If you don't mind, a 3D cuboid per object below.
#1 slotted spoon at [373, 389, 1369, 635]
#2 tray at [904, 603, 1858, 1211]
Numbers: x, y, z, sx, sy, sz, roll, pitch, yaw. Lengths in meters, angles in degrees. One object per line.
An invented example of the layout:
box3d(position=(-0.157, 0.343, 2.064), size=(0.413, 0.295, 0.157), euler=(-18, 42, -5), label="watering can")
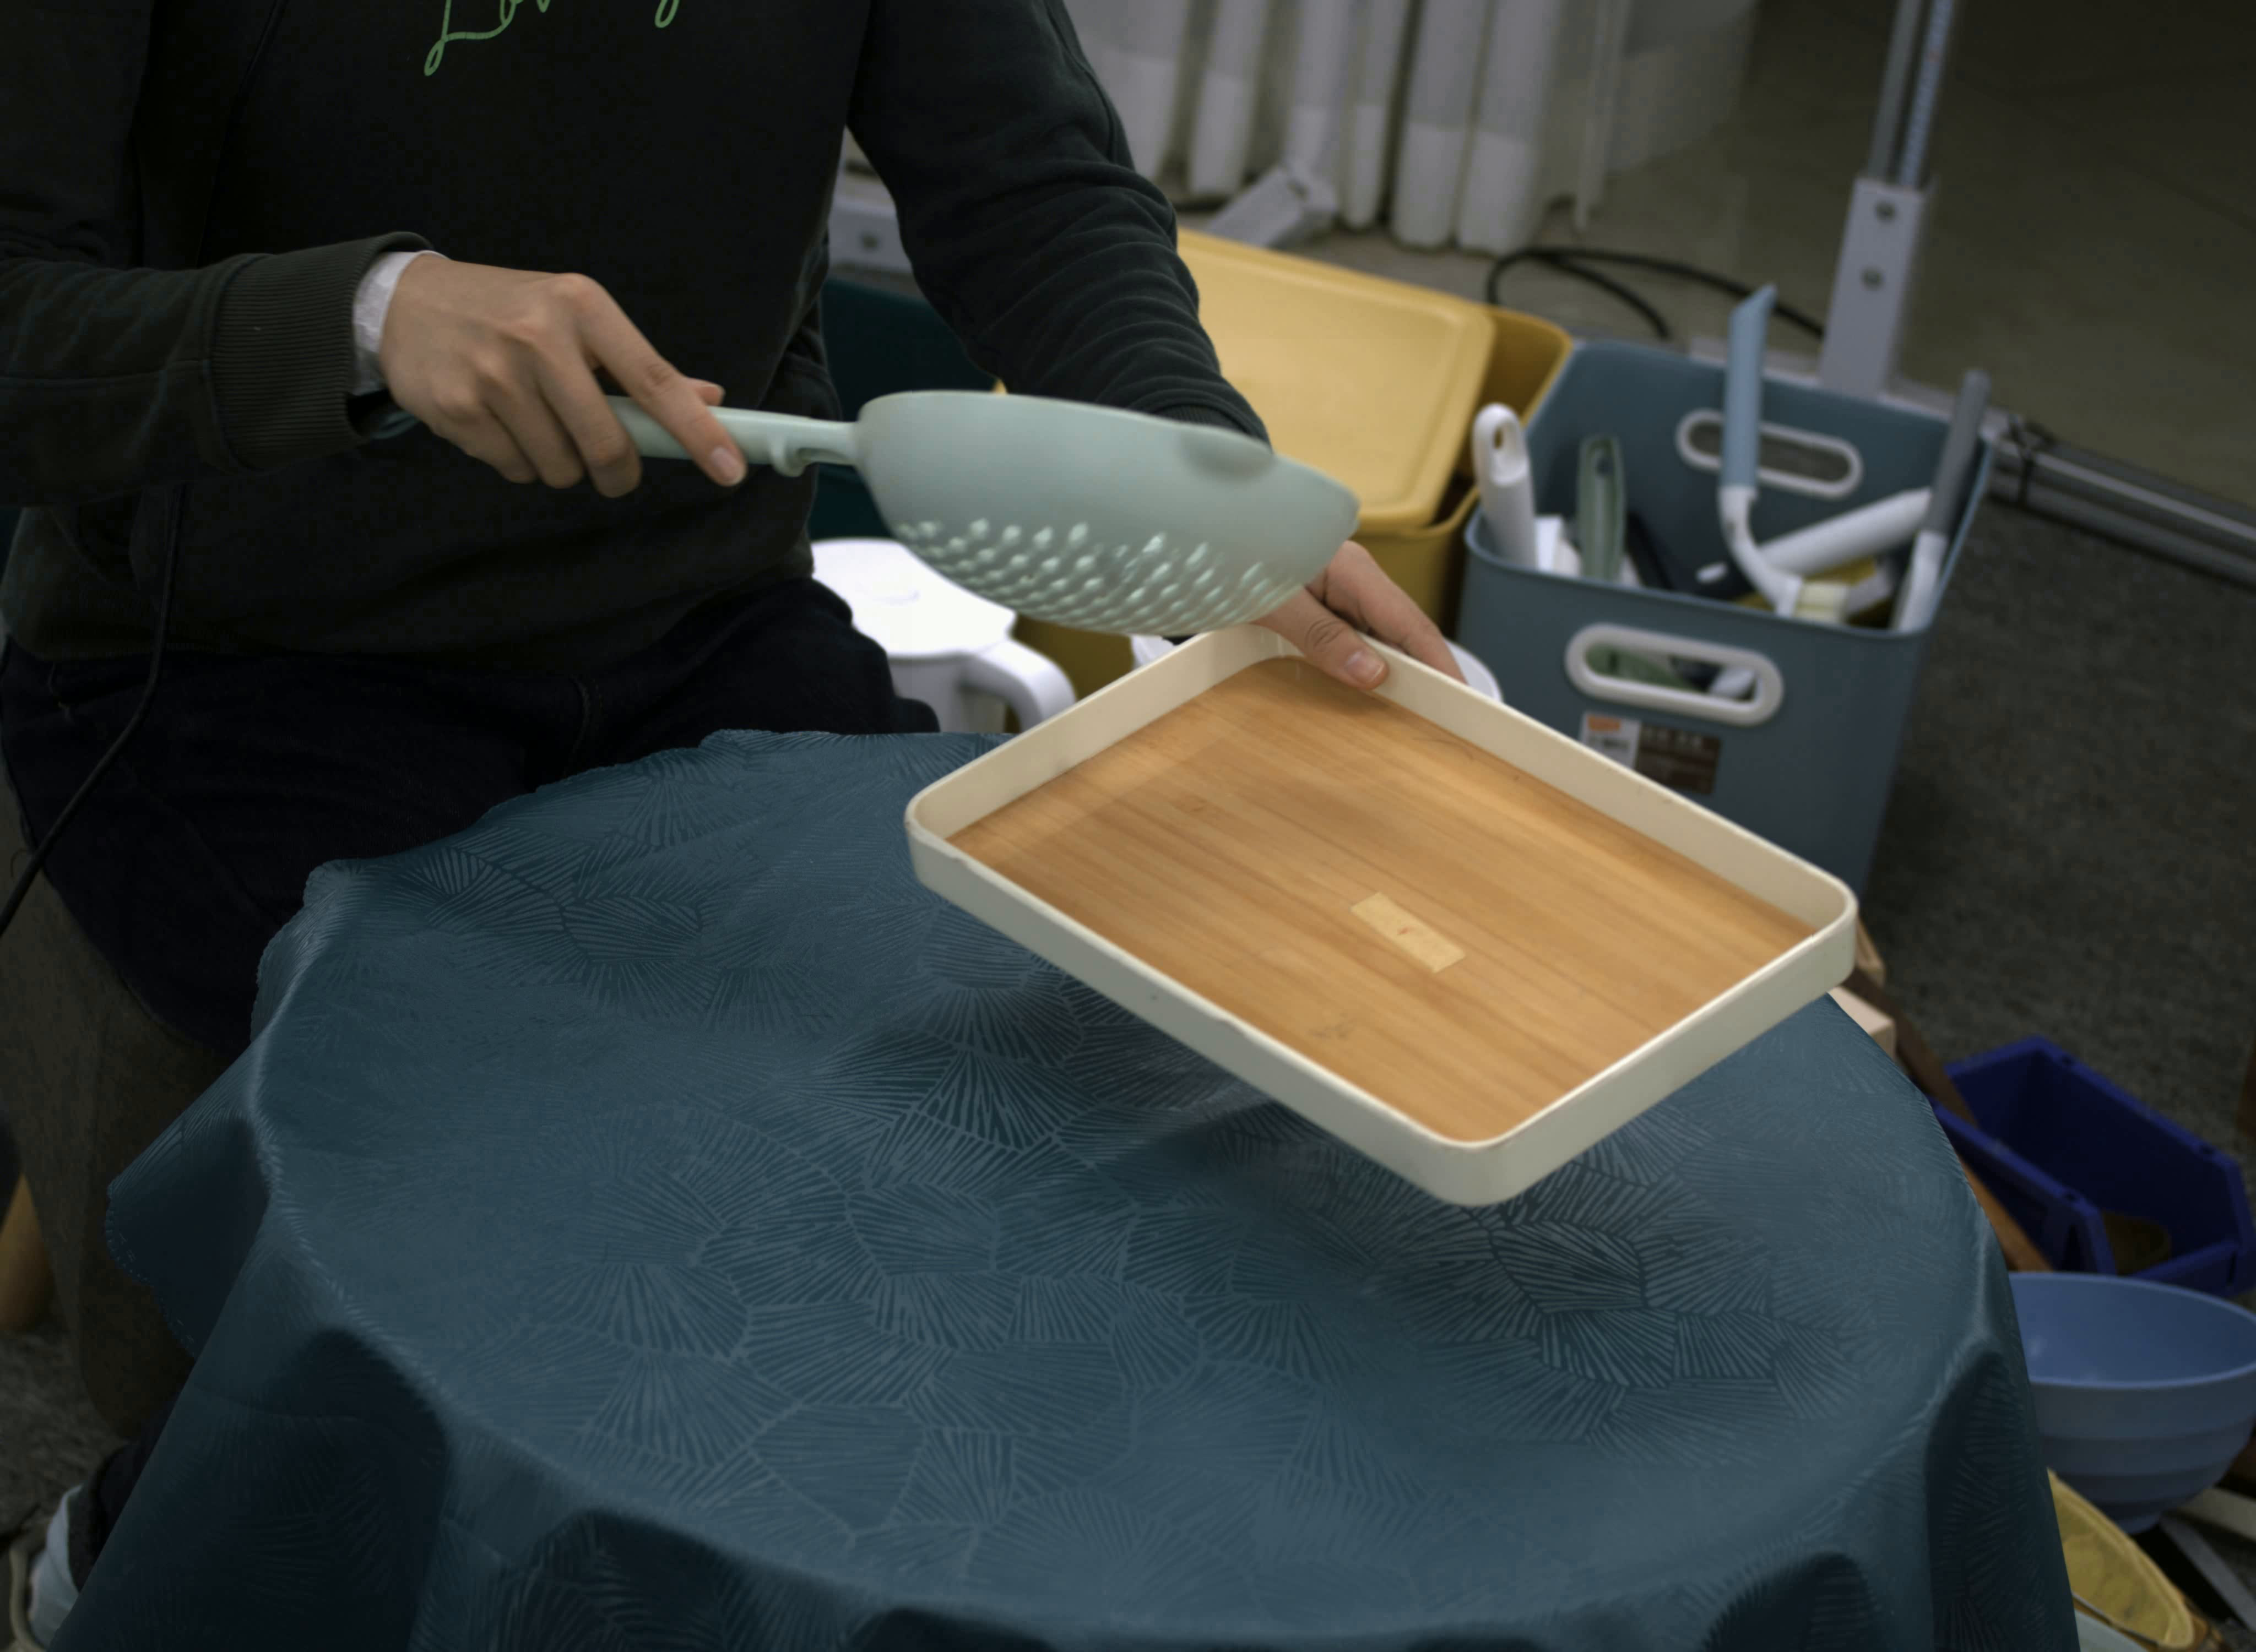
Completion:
box3d(position=(-0.096, -0.122, 1.816), size=(0.360, 0.075, 0.168), euler=(15, -5, 22), label="slotted spoon")
box3d(position=(0.082, 0.021, 1.821), size=(0.191, 0.027, 0.303), euler=(-30, 40, -29), label="tray")
